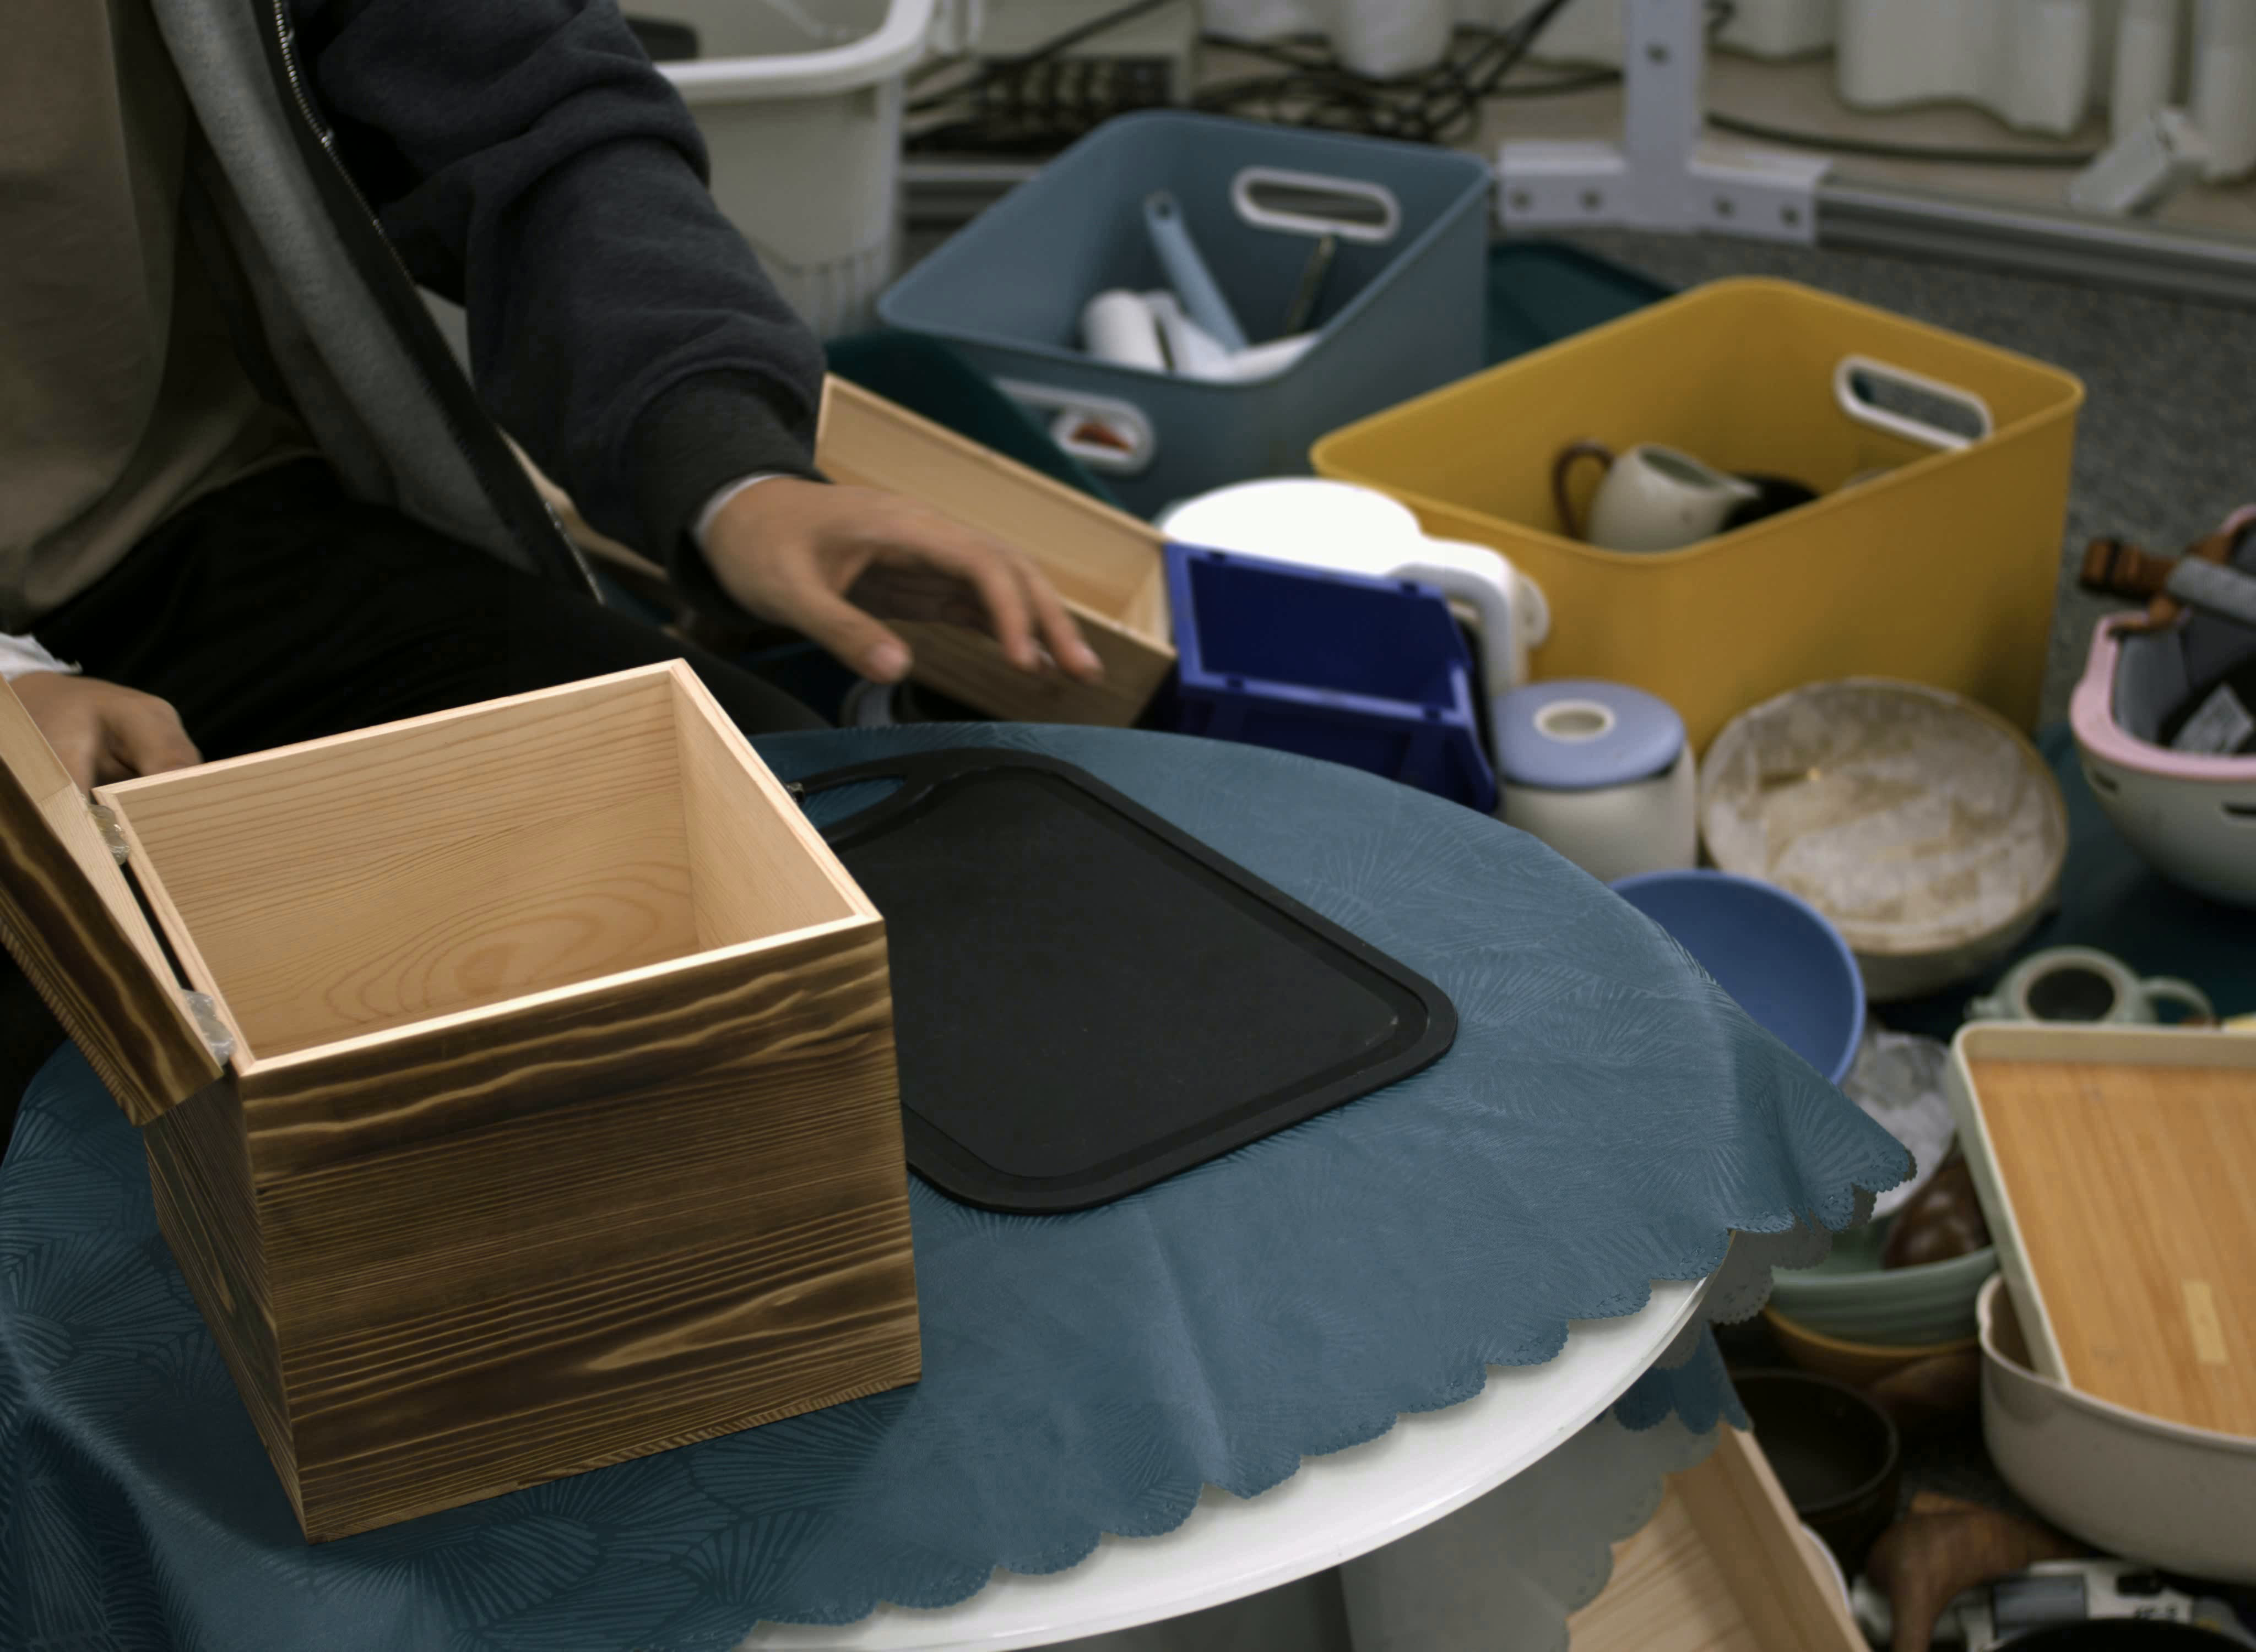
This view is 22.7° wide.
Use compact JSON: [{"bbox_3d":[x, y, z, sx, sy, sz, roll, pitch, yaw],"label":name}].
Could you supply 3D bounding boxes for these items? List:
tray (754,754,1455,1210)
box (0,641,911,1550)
[{"bbox_3d":[-0.047,0.047,2.005,0.213,0.009,0.326,-20,32,-30],"label":"tray"},{"bbox_3d":[-0.249,0.009,1.718,0.323,0.371,0.210,-13,29,-19],"label":"box"}]
